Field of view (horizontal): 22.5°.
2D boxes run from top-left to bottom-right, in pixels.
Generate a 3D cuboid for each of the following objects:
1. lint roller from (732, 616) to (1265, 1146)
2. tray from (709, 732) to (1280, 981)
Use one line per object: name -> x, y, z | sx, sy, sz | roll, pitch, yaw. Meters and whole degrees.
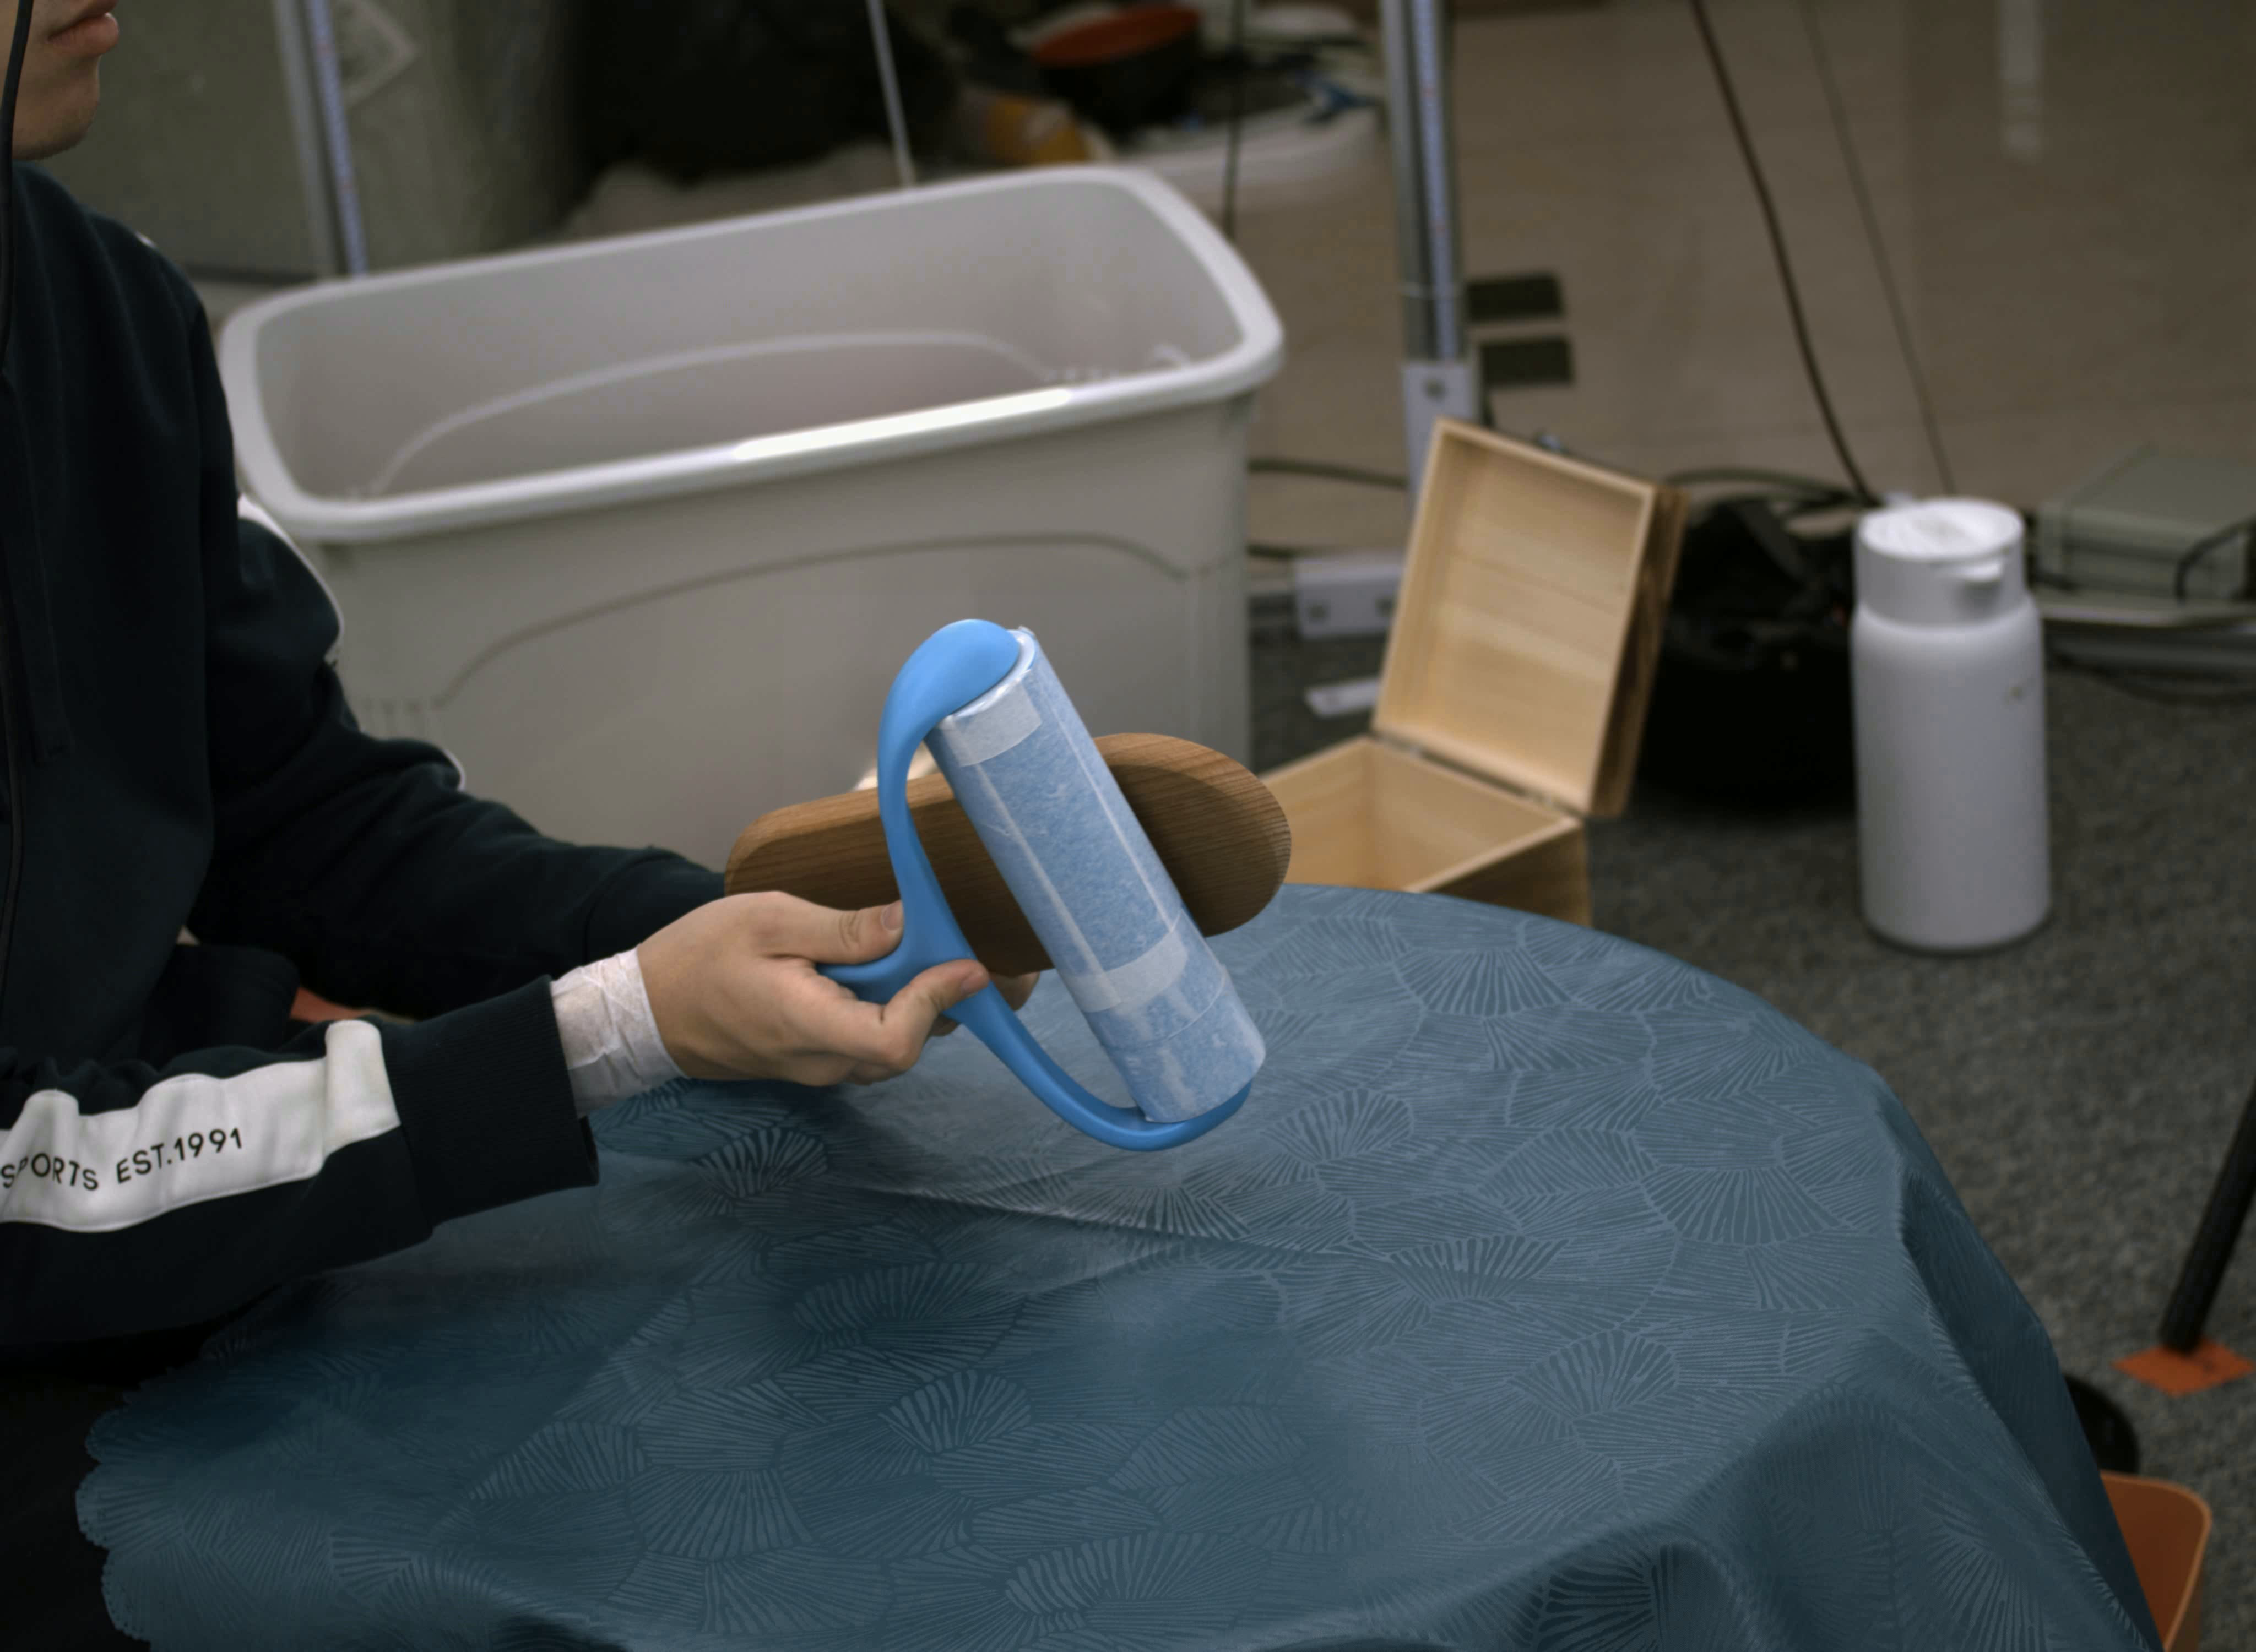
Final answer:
lint roller -> -0.068, 0.039, 2.076 | 0.181, 0.232, 0.067 | -21, 32, 20
tray -> -0.052, 0.018, 2.119 | 0.231, 0.103, 0.020 | -12, 41, 24
